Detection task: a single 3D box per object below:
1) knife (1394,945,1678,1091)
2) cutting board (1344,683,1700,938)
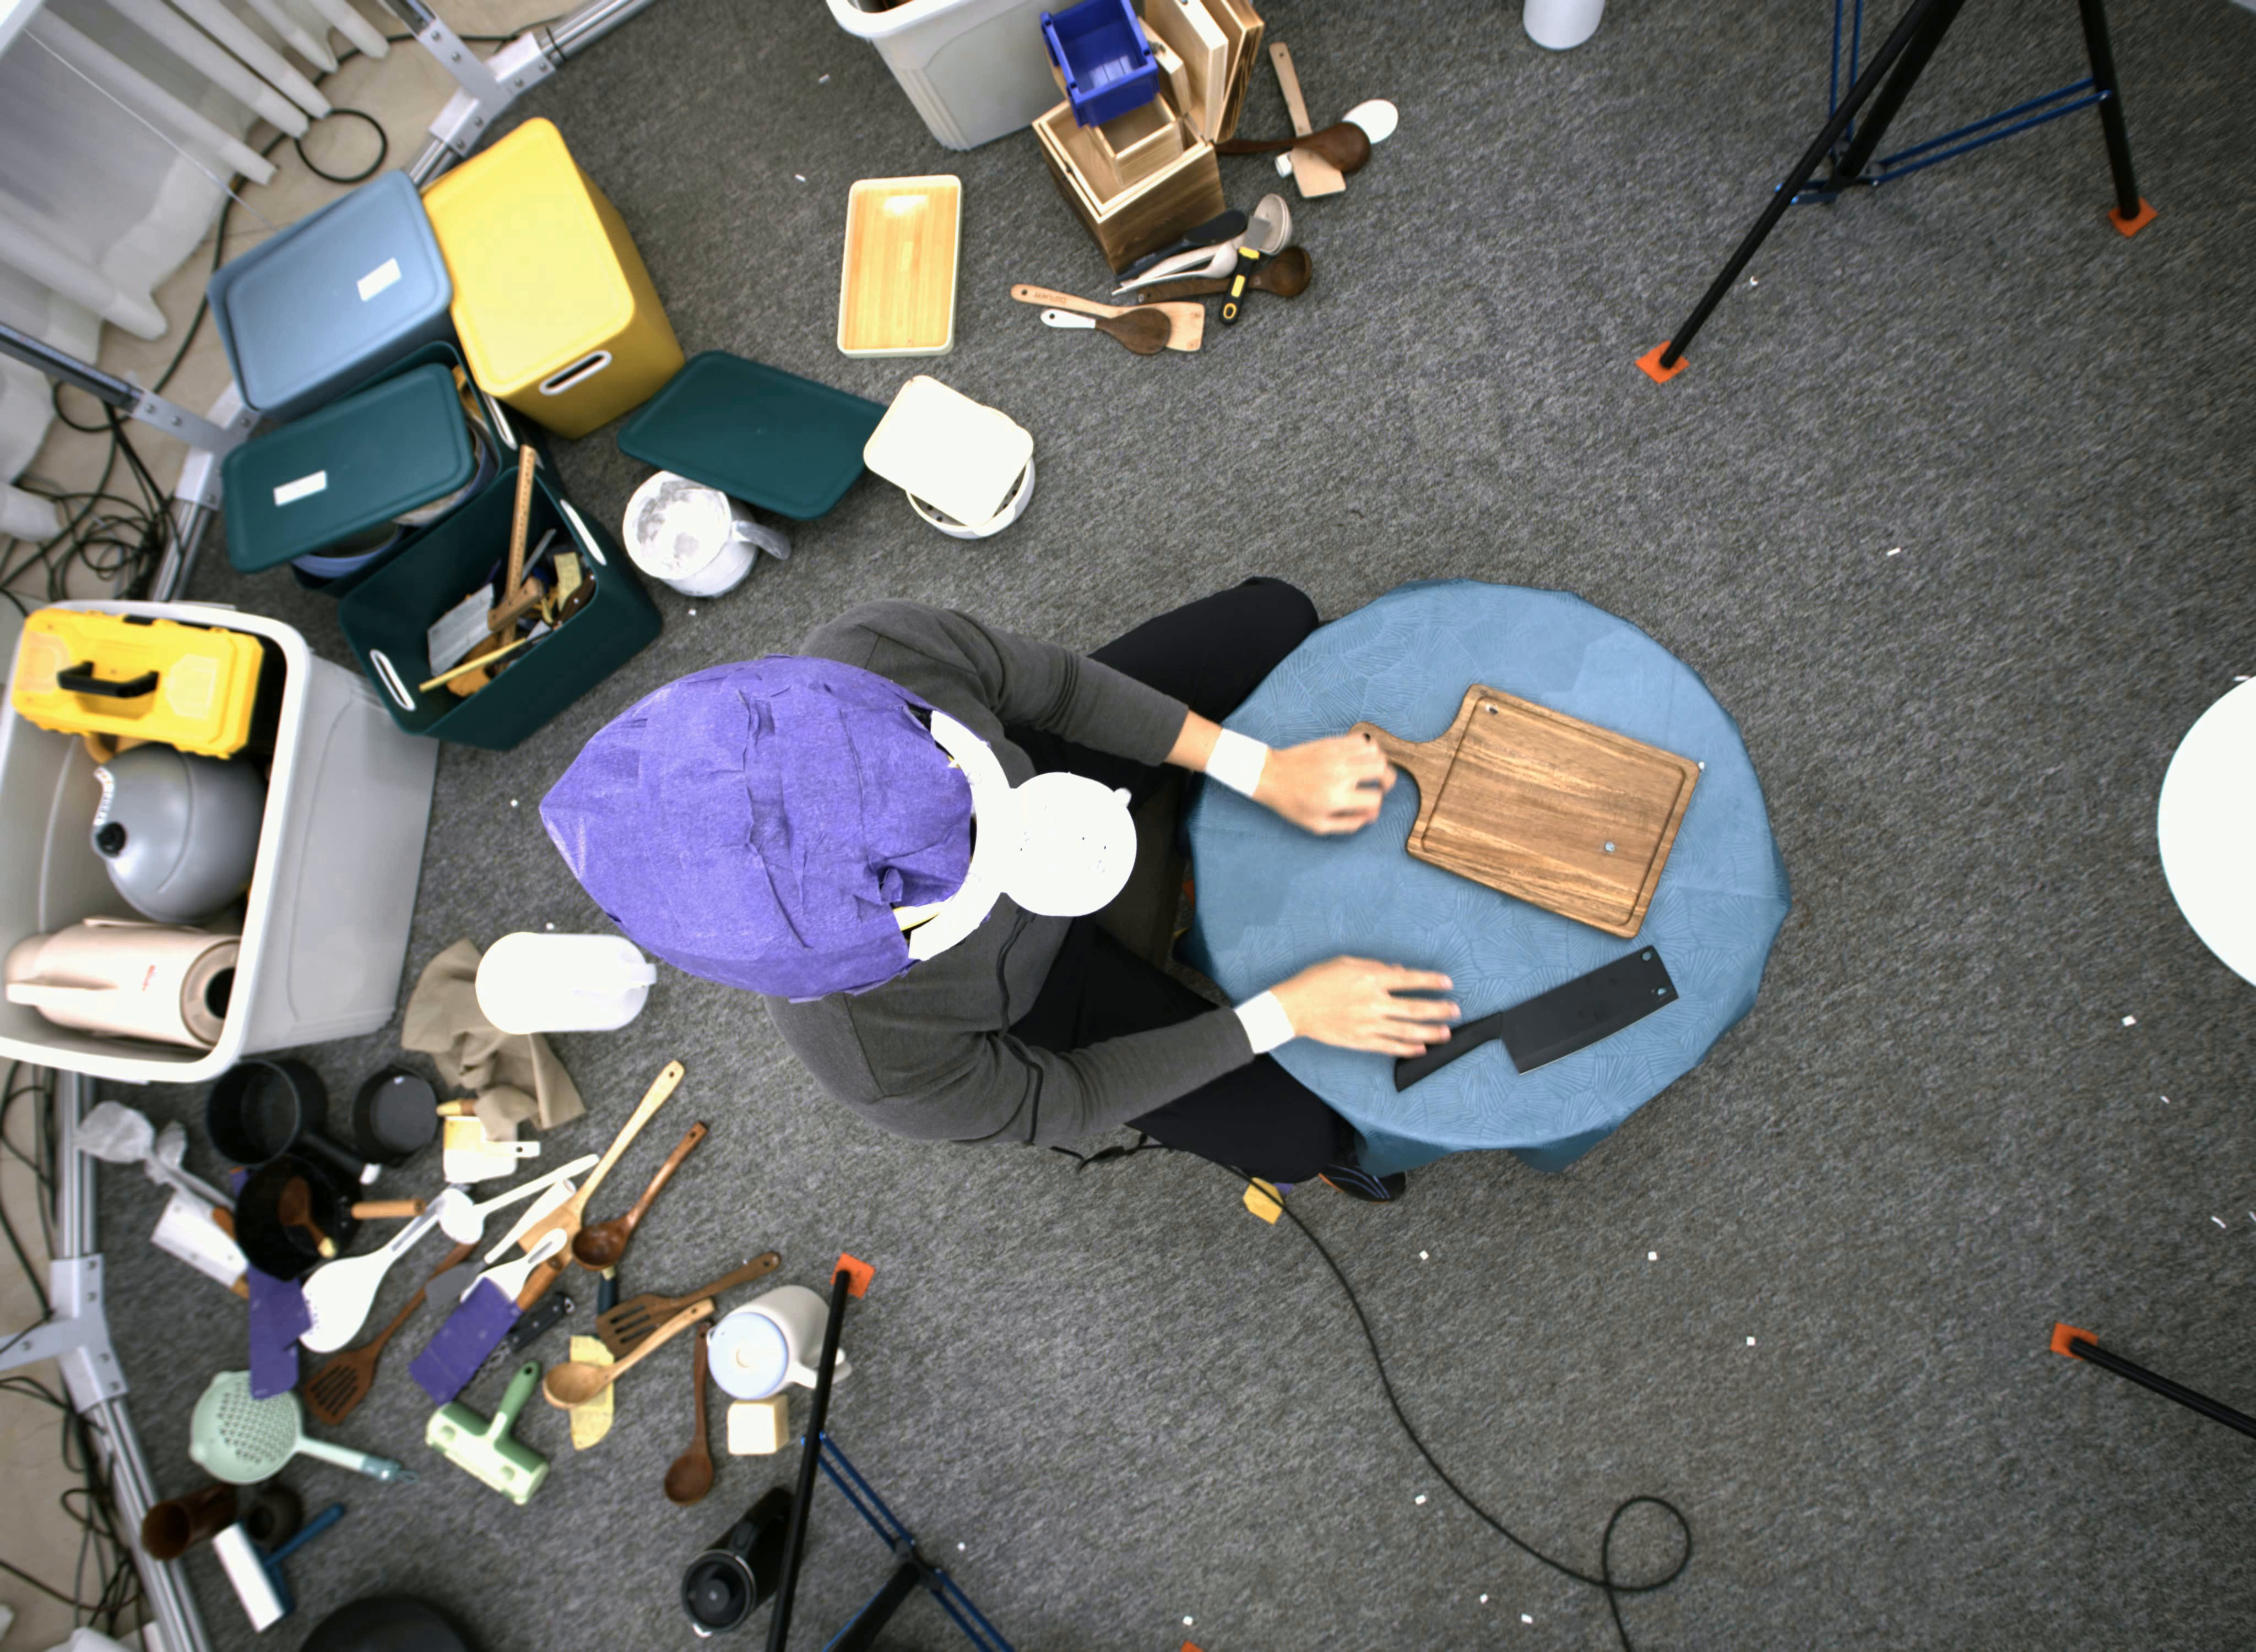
[{"bbox_3d":[0.416,0.206,1.418,0.304,0.021,0.080,-21,84,7],"label":"knife"},{"bbox_3d":[0.394,-0.038,1.432,0.352,0.023,0.201,21,90,11],"label":"cutting board"}]
